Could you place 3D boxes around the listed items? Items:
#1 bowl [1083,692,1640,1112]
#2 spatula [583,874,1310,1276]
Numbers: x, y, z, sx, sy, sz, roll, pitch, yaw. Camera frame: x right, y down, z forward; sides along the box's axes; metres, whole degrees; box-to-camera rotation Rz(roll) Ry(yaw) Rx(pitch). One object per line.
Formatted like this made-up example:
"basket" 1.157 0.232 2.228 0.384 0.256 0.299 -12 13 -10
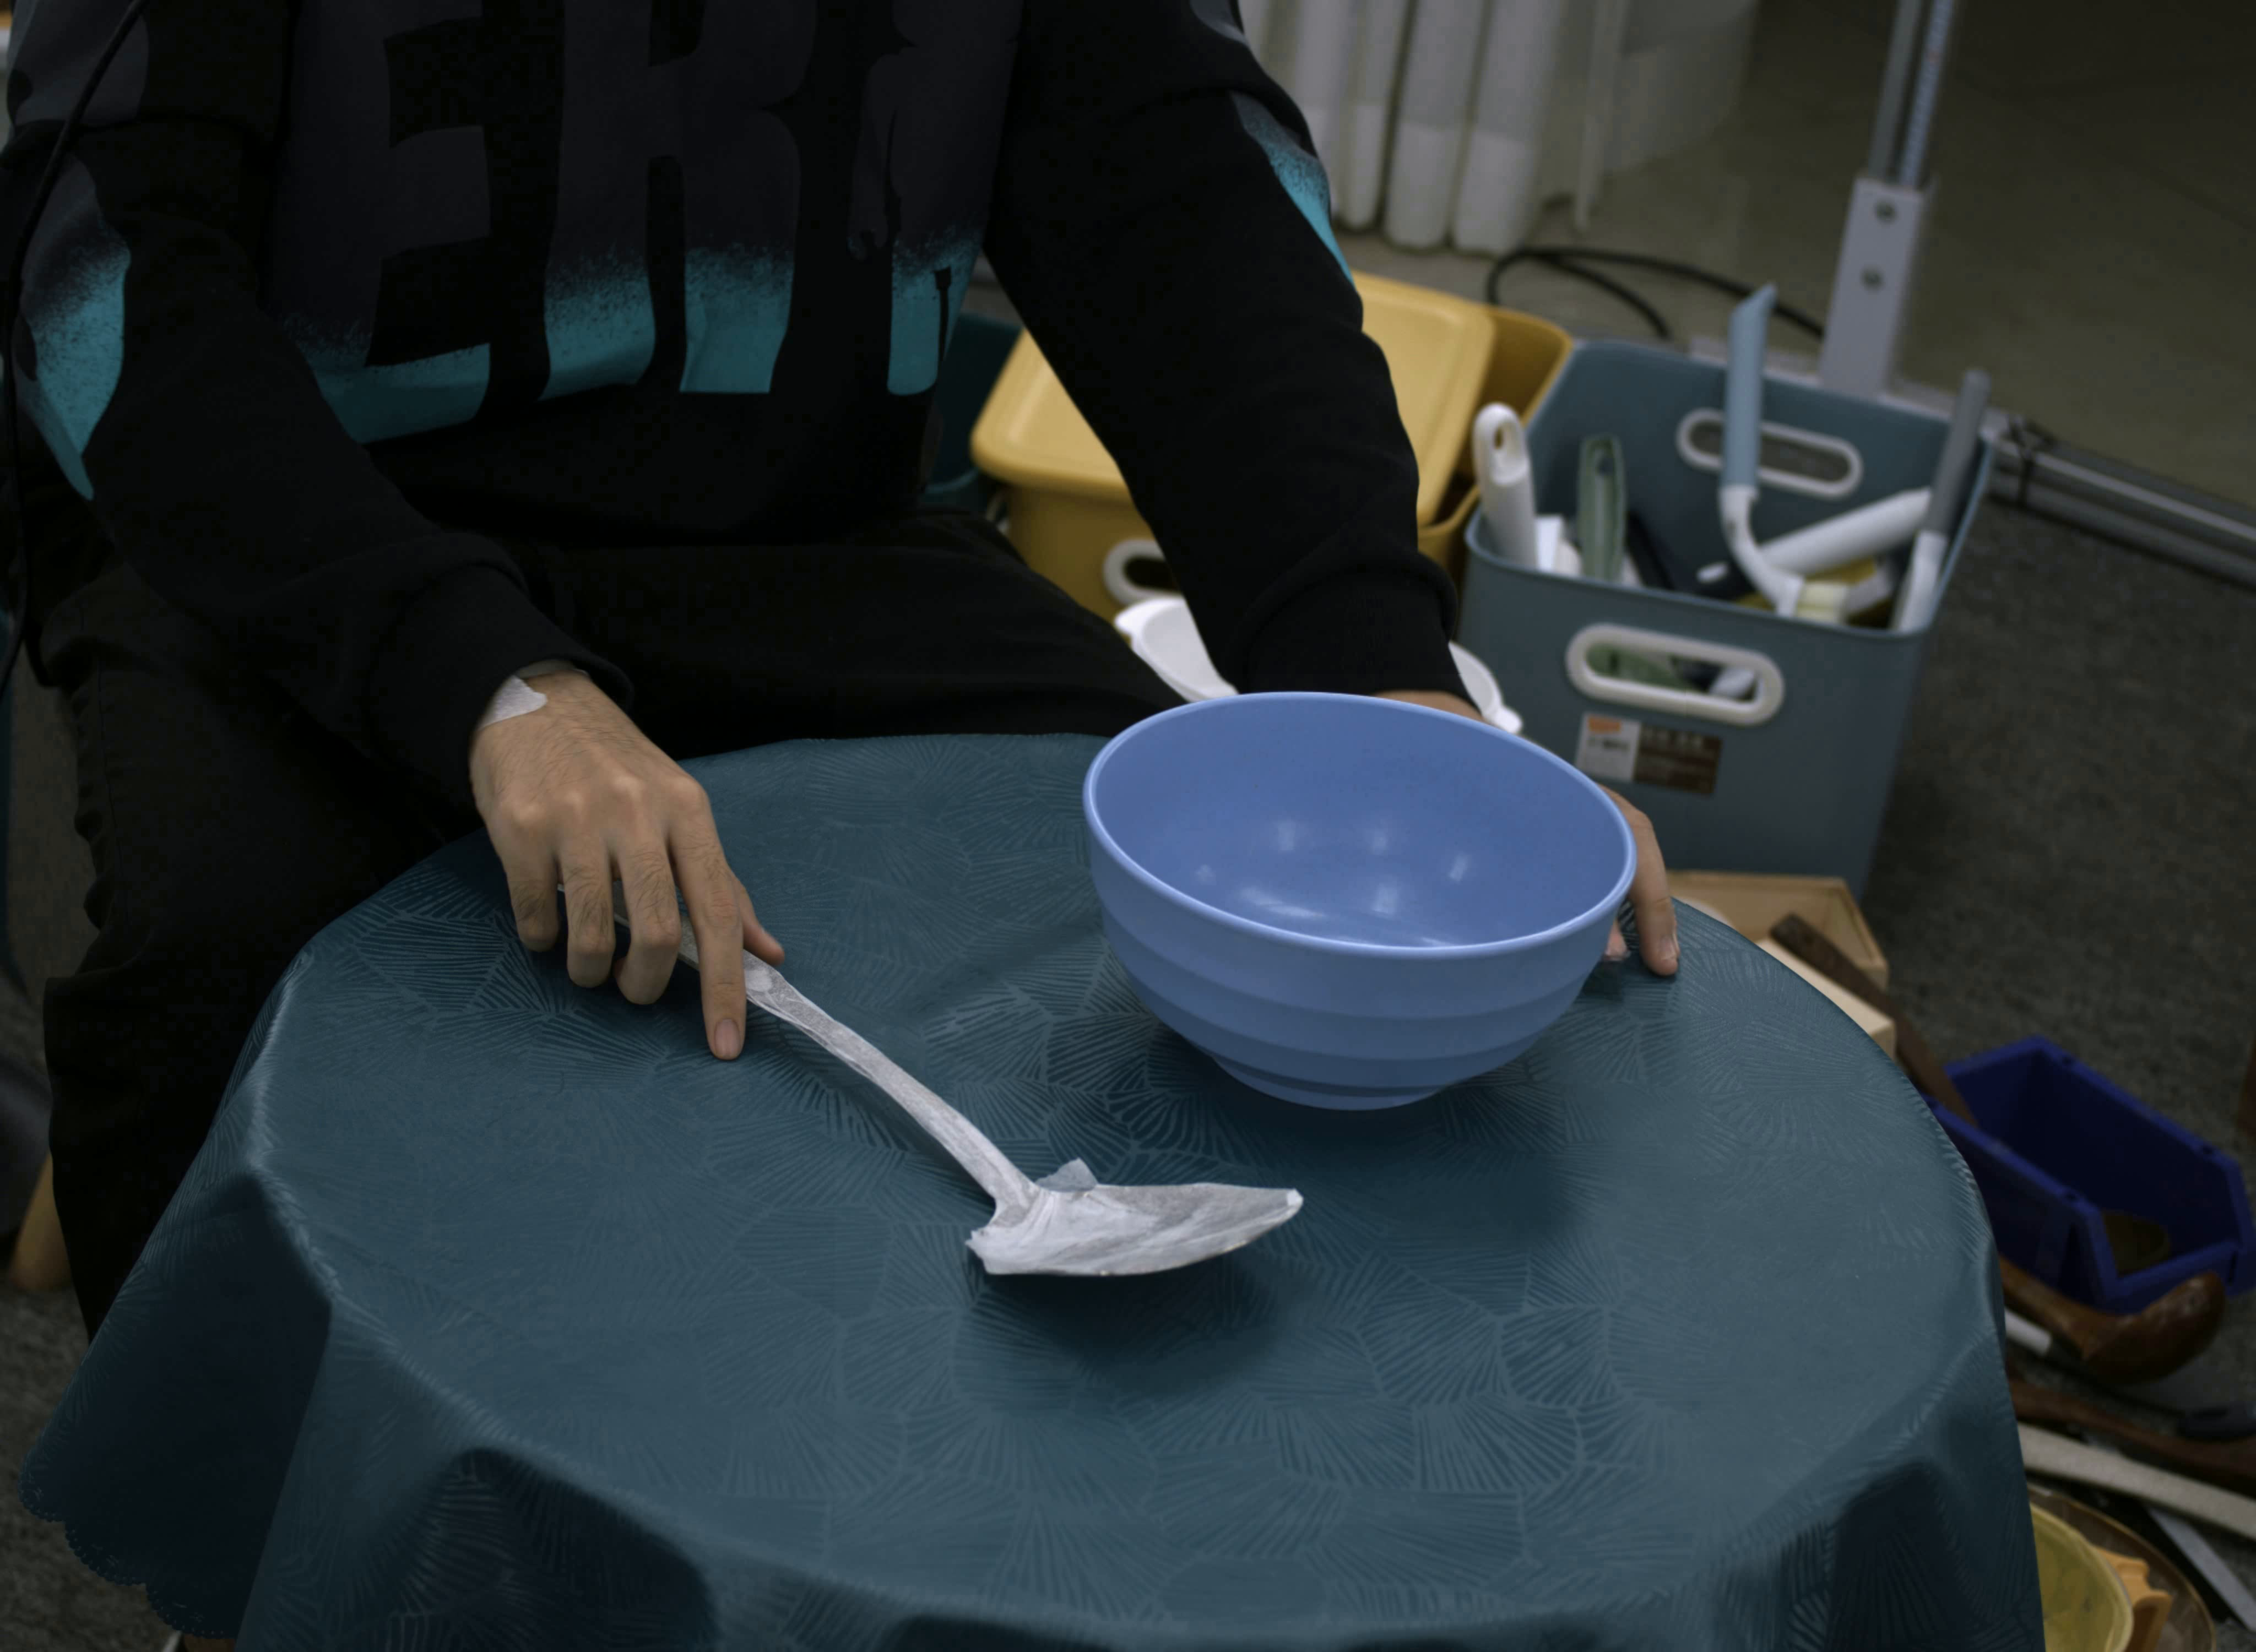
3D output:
"bowl" 0.077 0.038 1.883 0.196 0.095 0.198 5 28 -3
"spatula" -0.085 0.078 1.829 0.098 0.044 0.368 -18 36 -36
